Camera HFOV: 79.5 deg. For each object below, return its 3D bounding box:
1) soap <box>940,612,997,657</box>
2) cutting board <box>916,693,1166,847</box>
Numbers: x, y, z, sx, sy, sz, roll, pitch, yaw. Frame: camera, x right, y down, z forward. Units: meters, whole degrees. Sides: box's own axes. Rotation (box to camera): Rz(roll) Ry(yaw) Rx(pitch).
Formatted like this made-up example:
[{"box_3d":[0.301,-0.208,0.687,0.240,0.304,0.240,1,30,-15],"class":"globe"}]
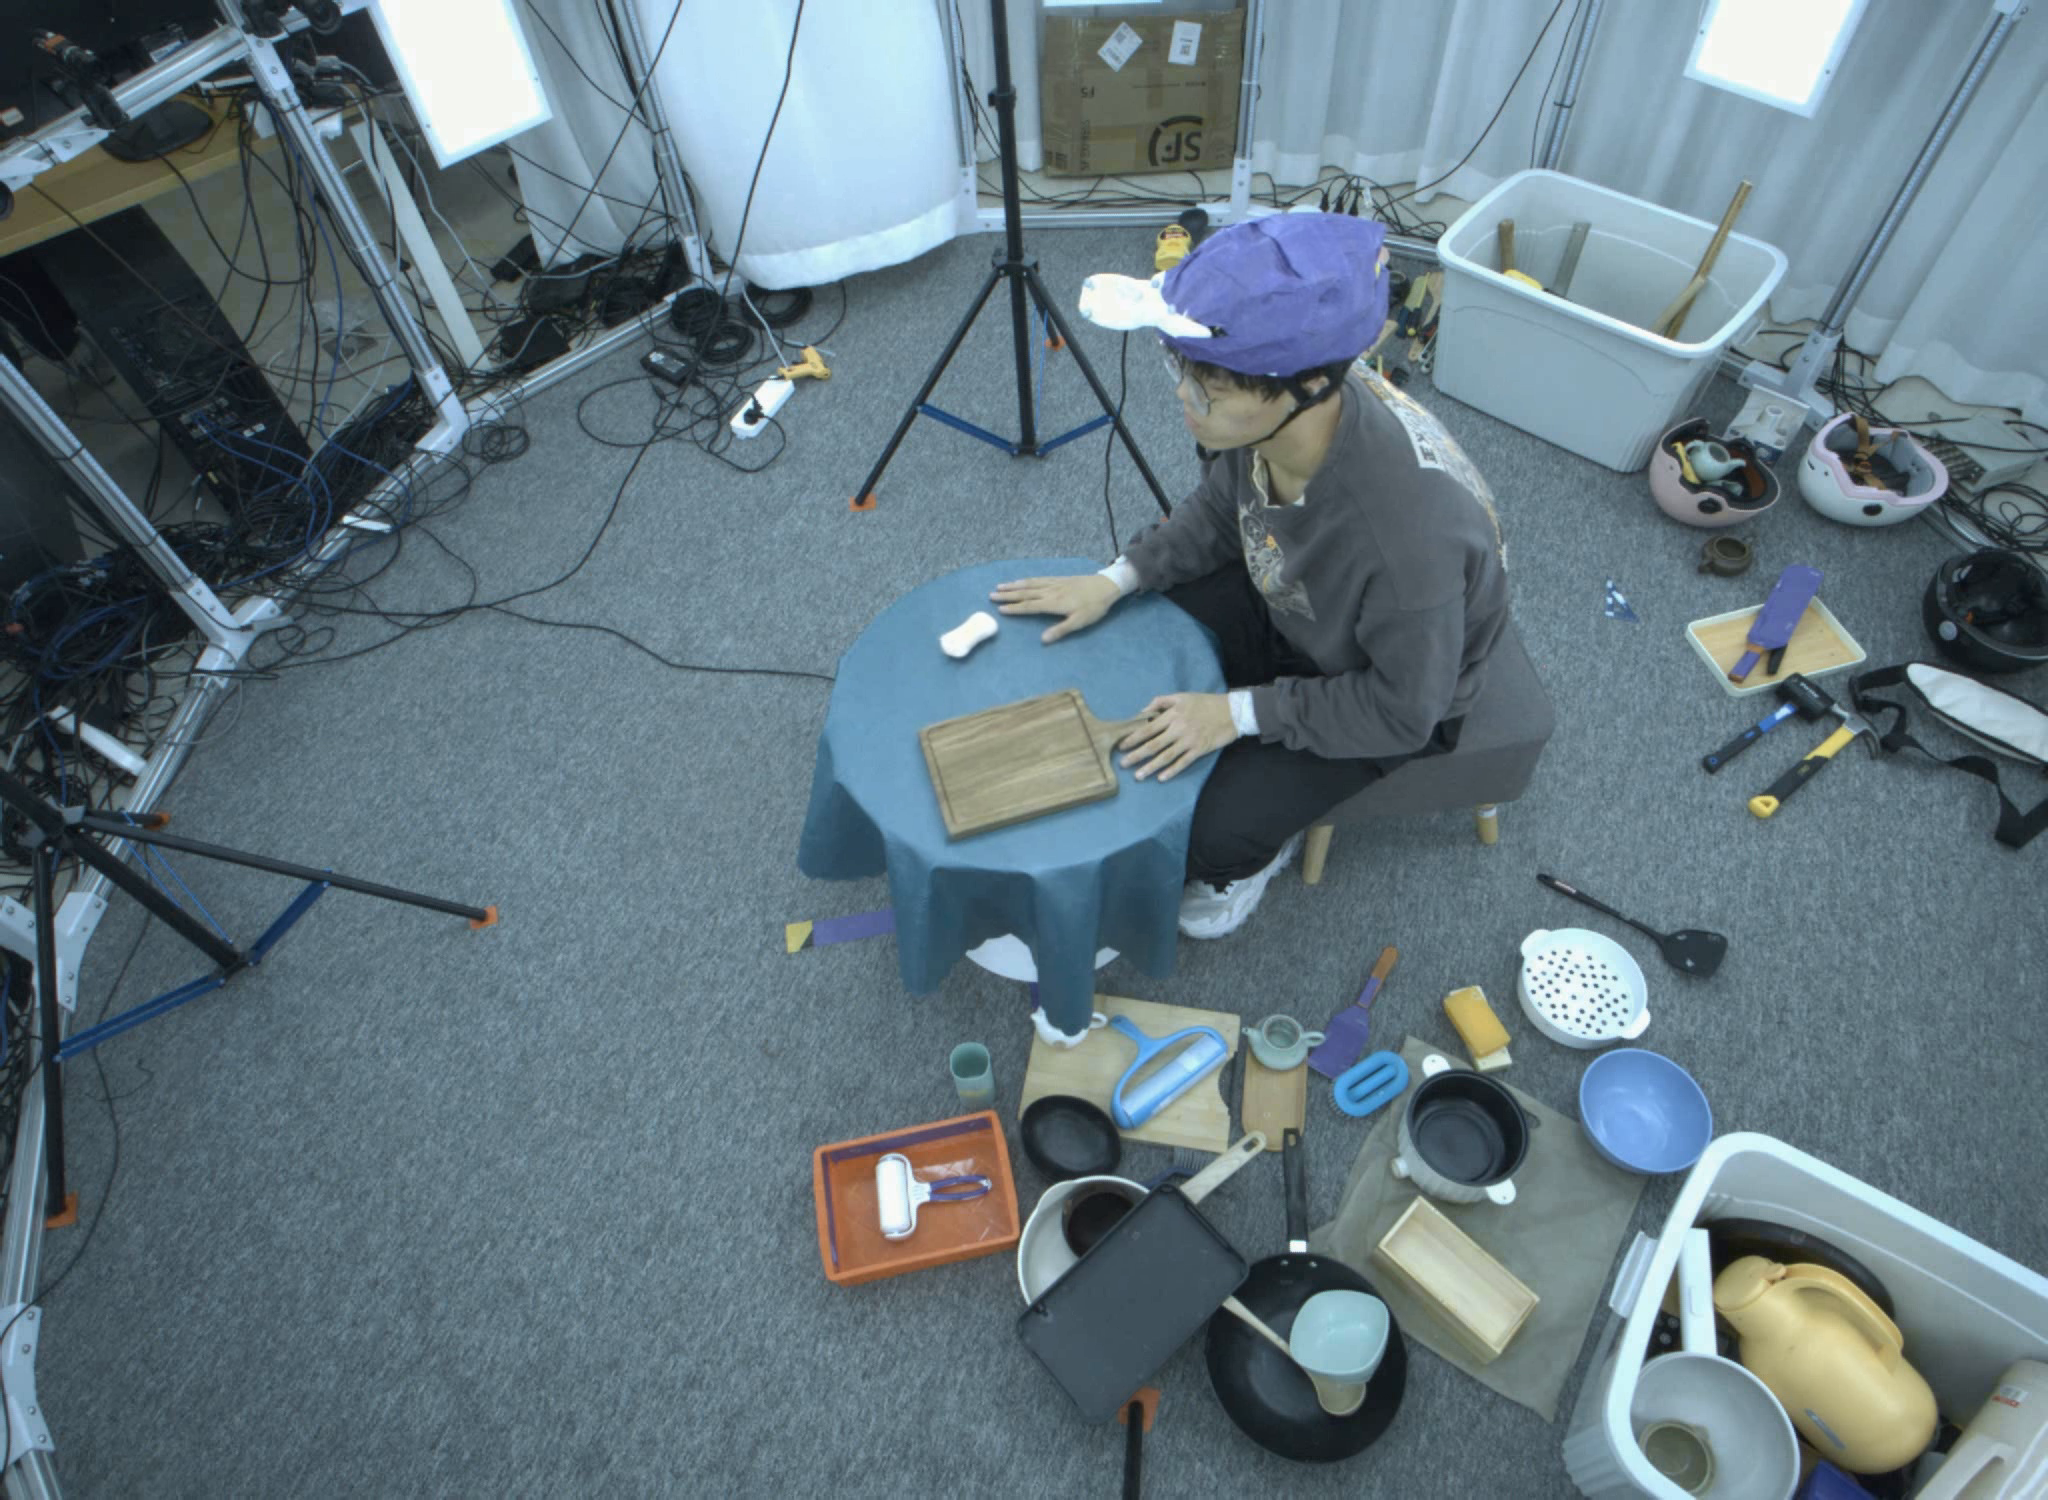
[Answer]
[{"box_3d":[-0.086,-0.179,1.900,0.095,0.031,0.049,-37,61,-24],"class":"soap"},{"box_3d":[0.036,0.012,1.762,0.354,0.023,0.198,-14,55,-8],"class":"cutting board"}]
